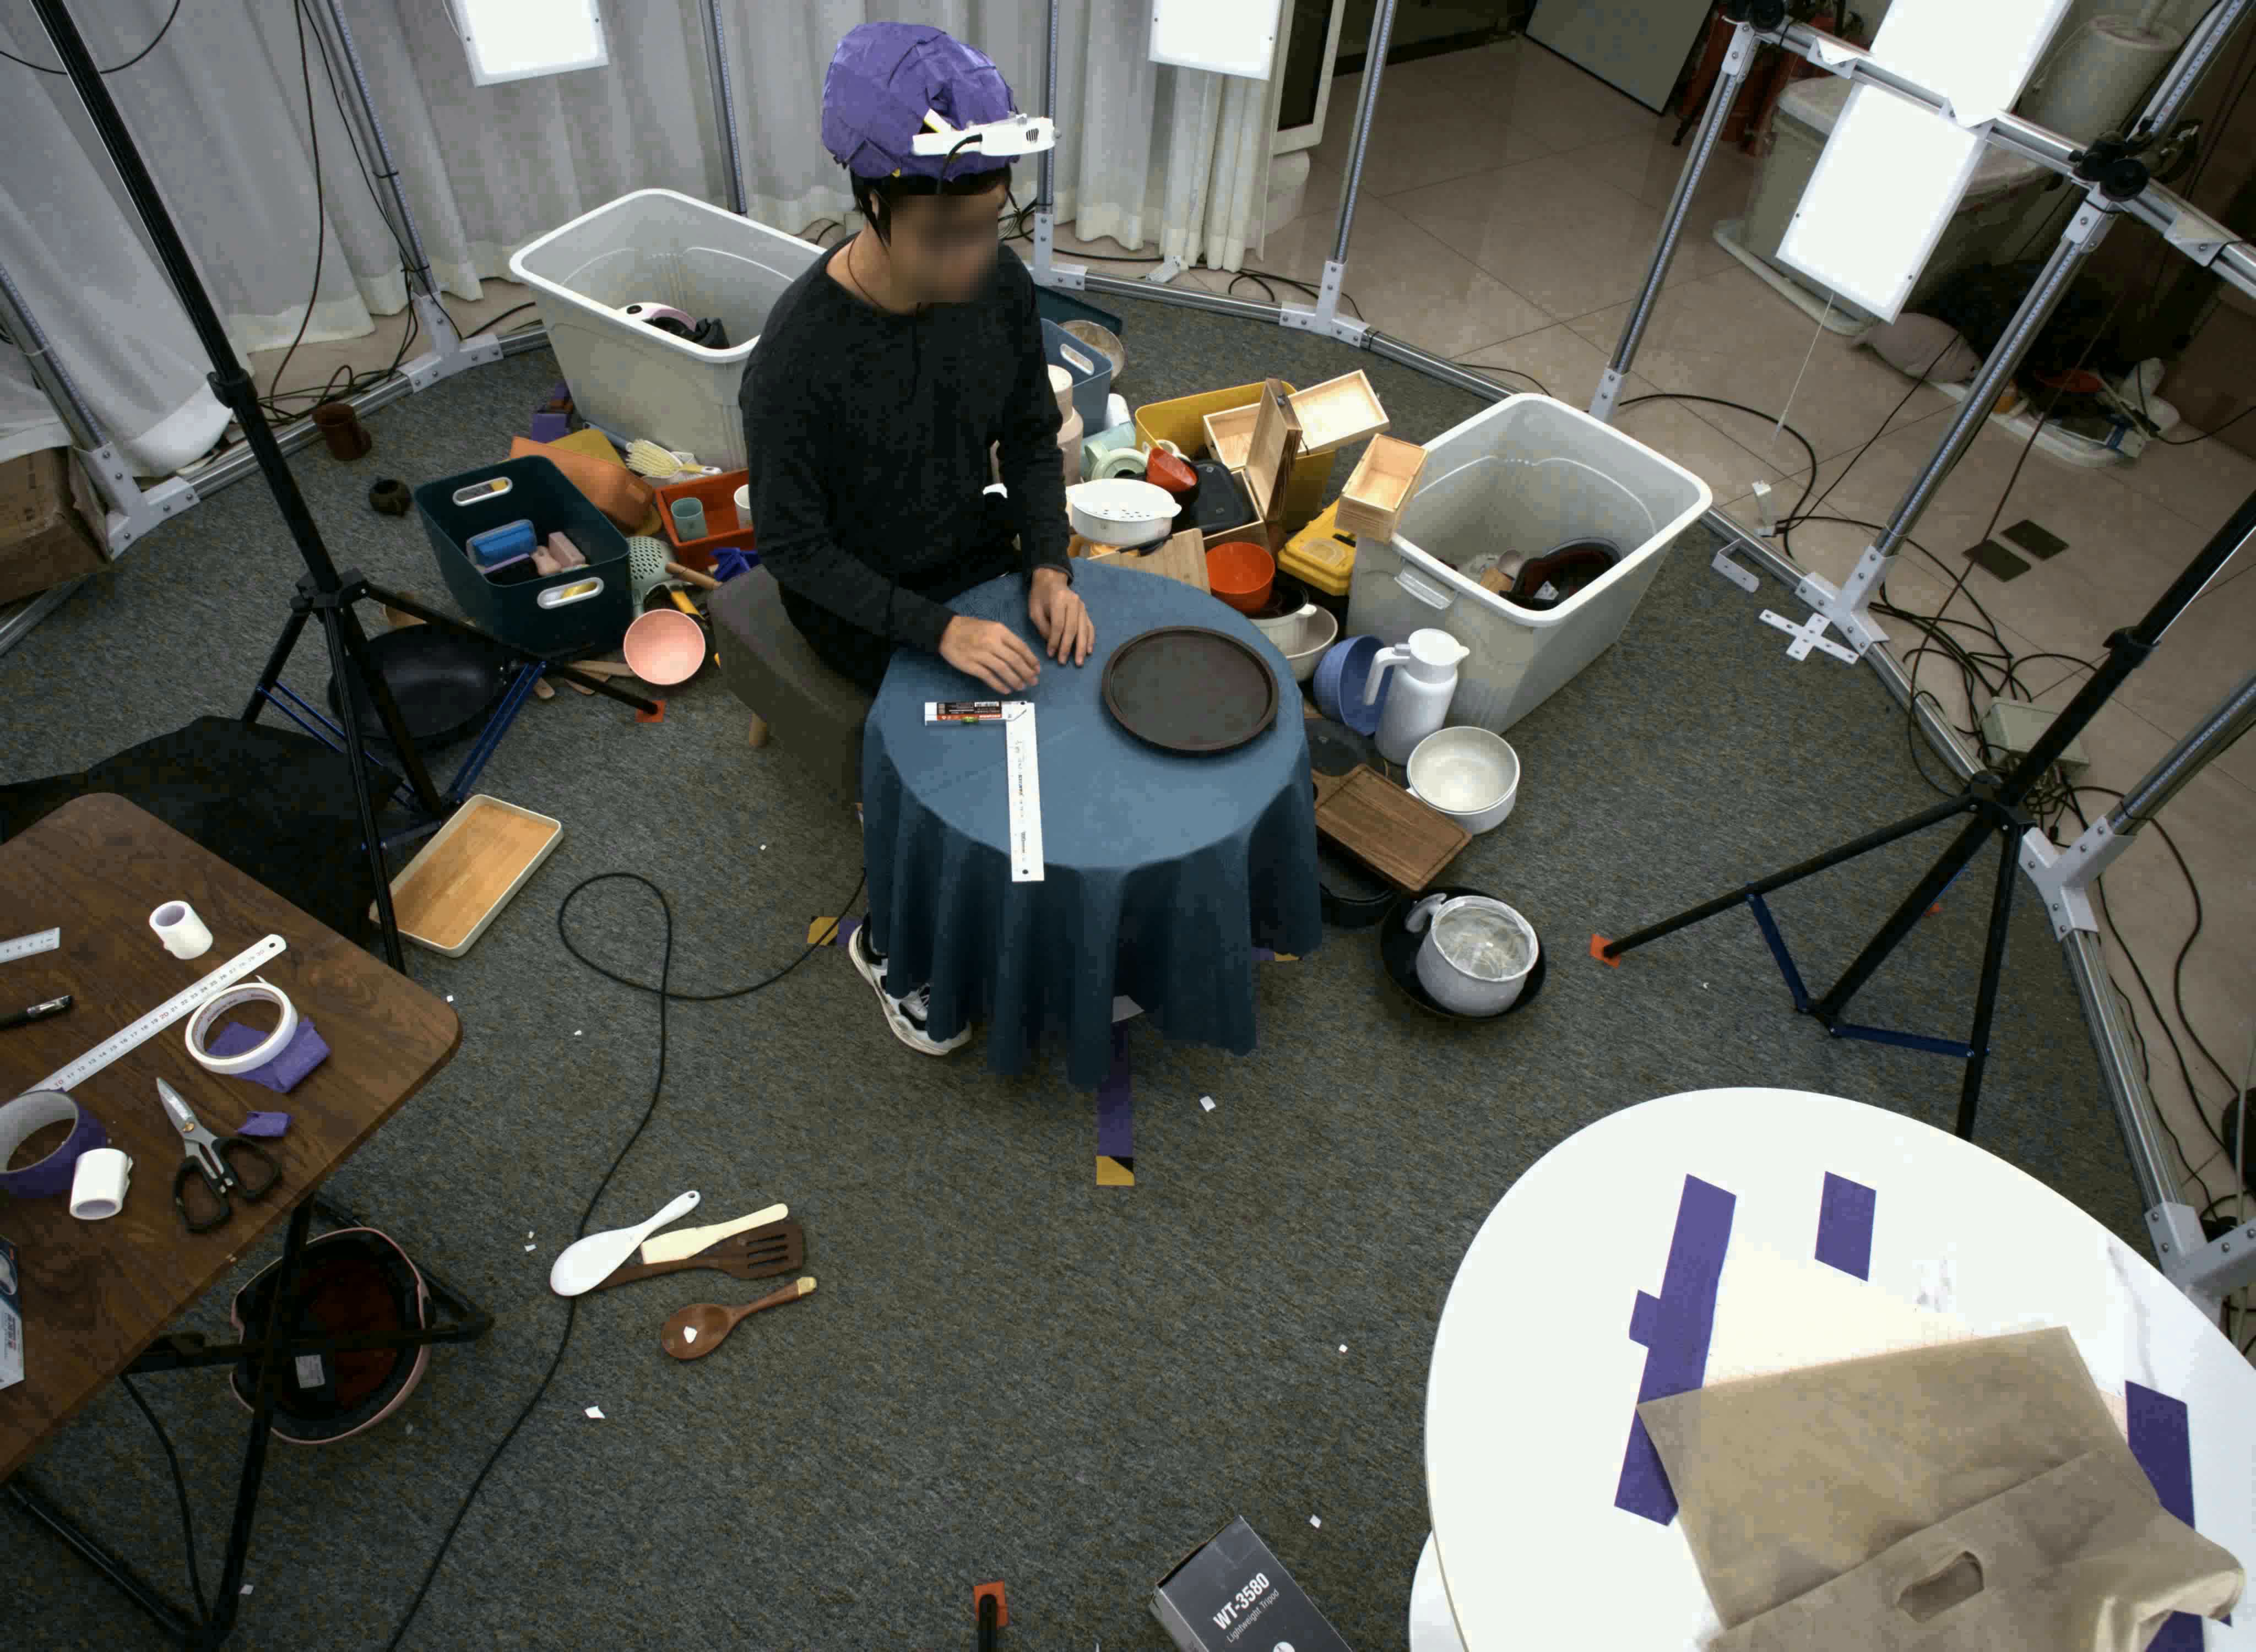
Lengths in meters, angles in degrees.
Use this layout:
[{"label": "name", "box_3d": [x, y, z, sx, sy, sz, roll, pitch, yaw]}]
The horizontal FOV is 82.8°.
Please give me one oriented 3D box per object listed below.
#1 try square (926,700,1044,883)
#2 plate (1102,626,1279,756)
[{"label": "try square", "box_3d": [-0.193, -0.051, 1.698, 0.152, 0.015, 0.321, -2, 50, -4]}, {"label": "plate", "box_3d": [0.088, -0.194, 1.829, 0.254, 0.028, 0.261, 2, 50, -2]}]
